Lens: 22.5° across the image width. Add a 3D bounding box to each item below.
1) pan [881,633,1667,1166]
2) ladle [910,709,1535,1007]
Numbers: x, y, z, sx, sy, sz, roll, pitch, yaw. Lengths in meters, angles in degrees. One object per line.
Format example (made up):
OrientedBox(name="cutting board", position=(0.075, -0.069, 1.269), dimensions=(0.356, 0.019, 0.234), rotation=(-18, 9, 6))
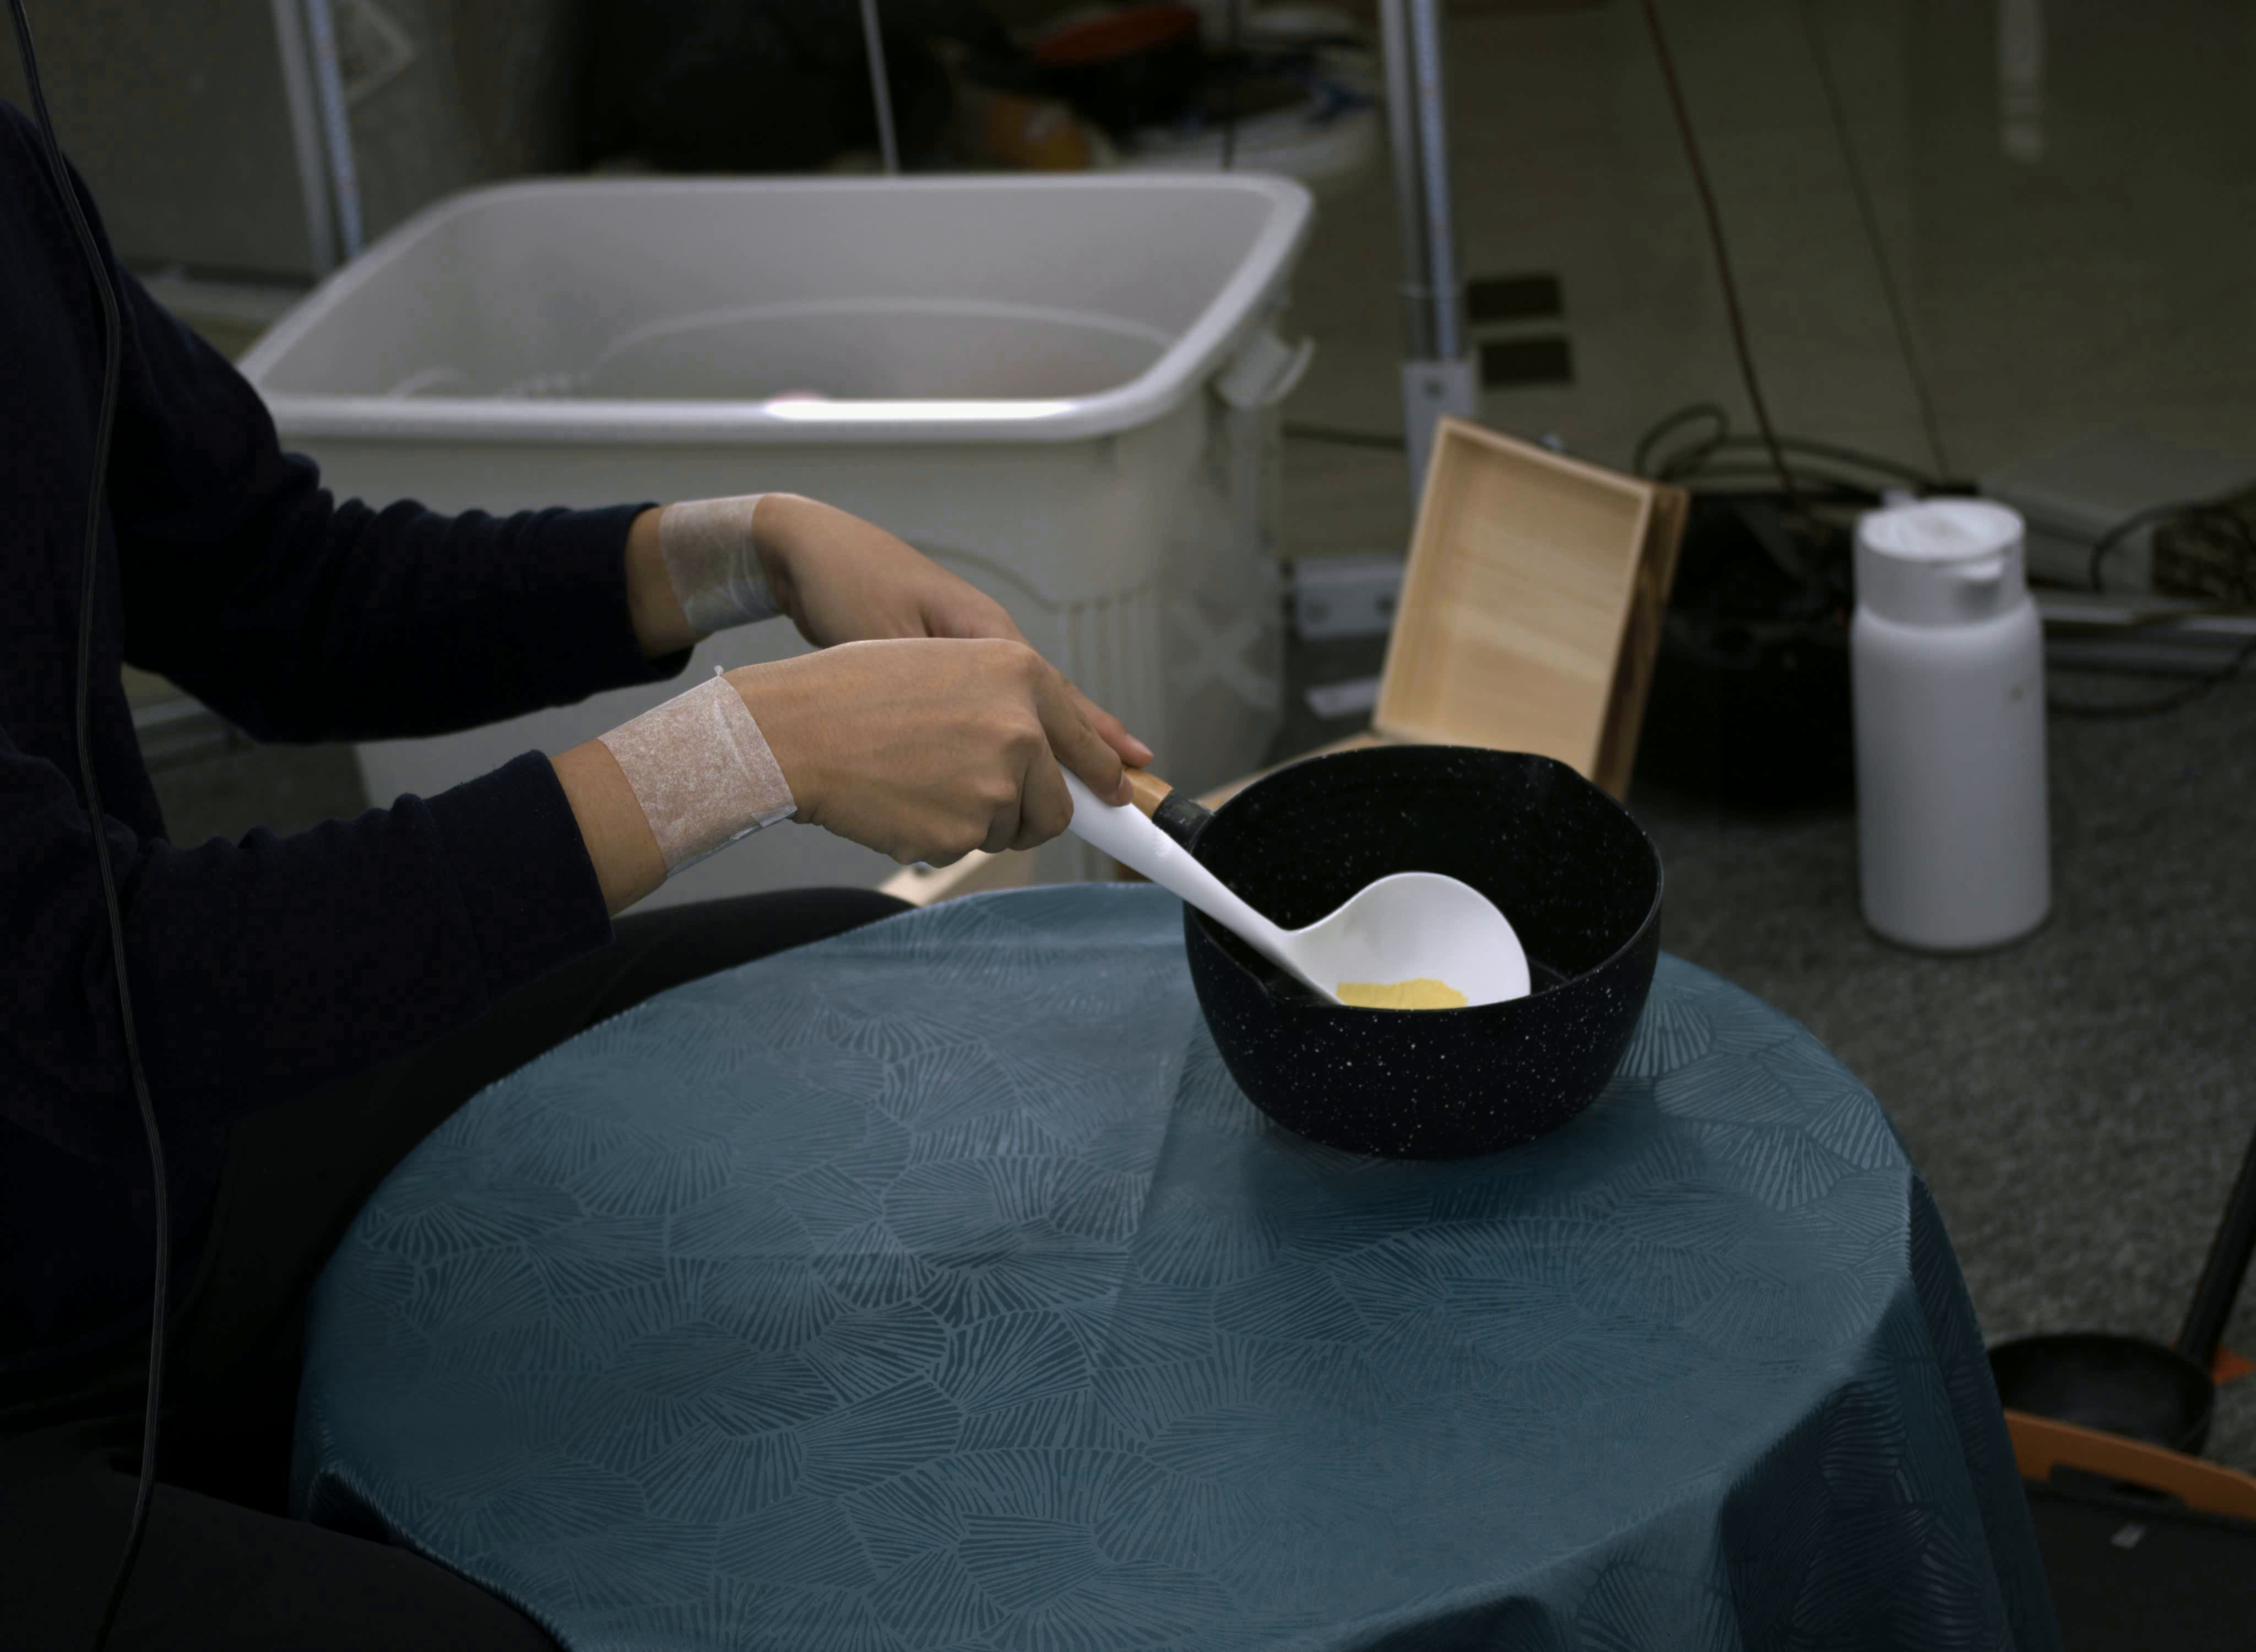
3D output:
OrientedBox(name="pan", position=(0.046, 0.021, 2.208), dimensions=(0.340, 0.110, 0.205), rotation=(20, 40, 26))
OrientedBox(name="ladle", position=(0.040, 0.022, 2.109), dimensions=(0.070, 0.296, 0.089), rotation=(-19, 55, 34))
